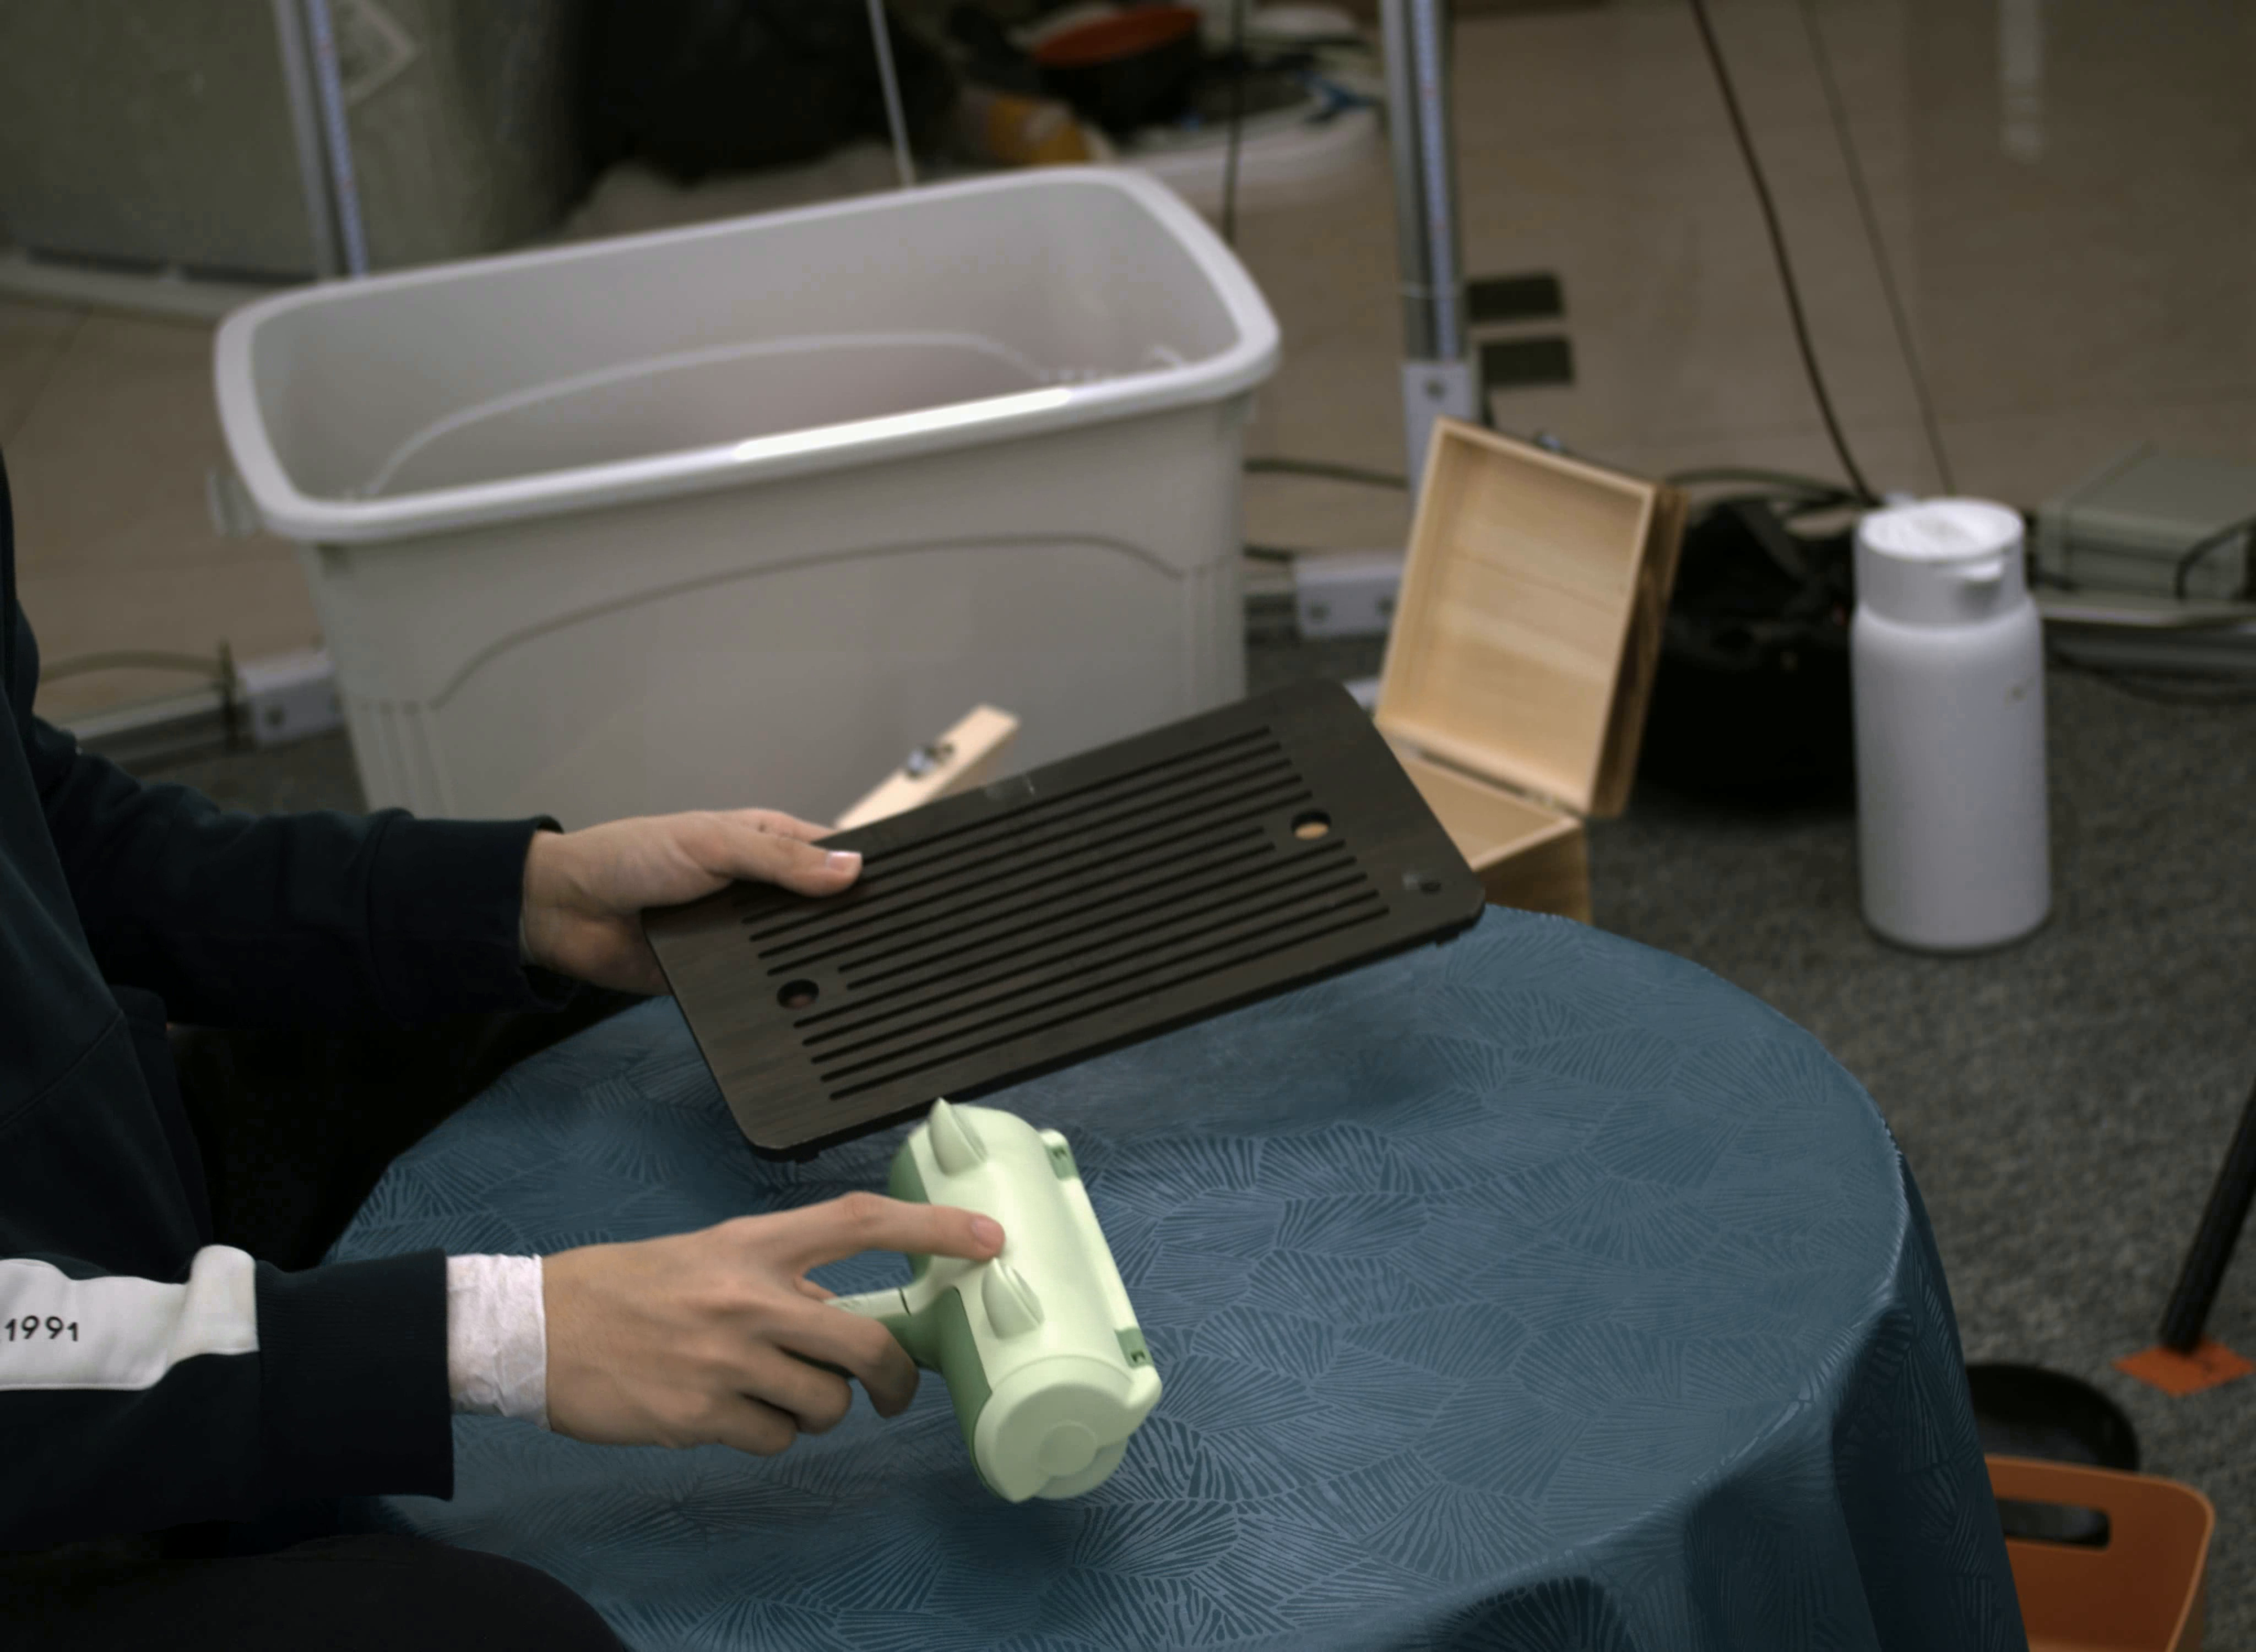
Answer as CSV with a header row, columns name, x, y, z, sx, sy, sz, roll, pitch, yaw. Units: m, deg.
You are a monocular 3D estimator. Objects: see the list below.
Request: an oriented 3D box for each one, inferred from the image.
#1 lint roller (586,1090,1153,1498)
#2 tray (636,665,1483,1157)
name,x,y,z,sx,sy,sz,roll,pitch,yaw
lint roller,-0.098,0.161,1.953,0.183,0.083,0.195,-7,27,-9
tray,-0.028,0.033,2.218,0.305,0.019,0.167,-19,41,-11
